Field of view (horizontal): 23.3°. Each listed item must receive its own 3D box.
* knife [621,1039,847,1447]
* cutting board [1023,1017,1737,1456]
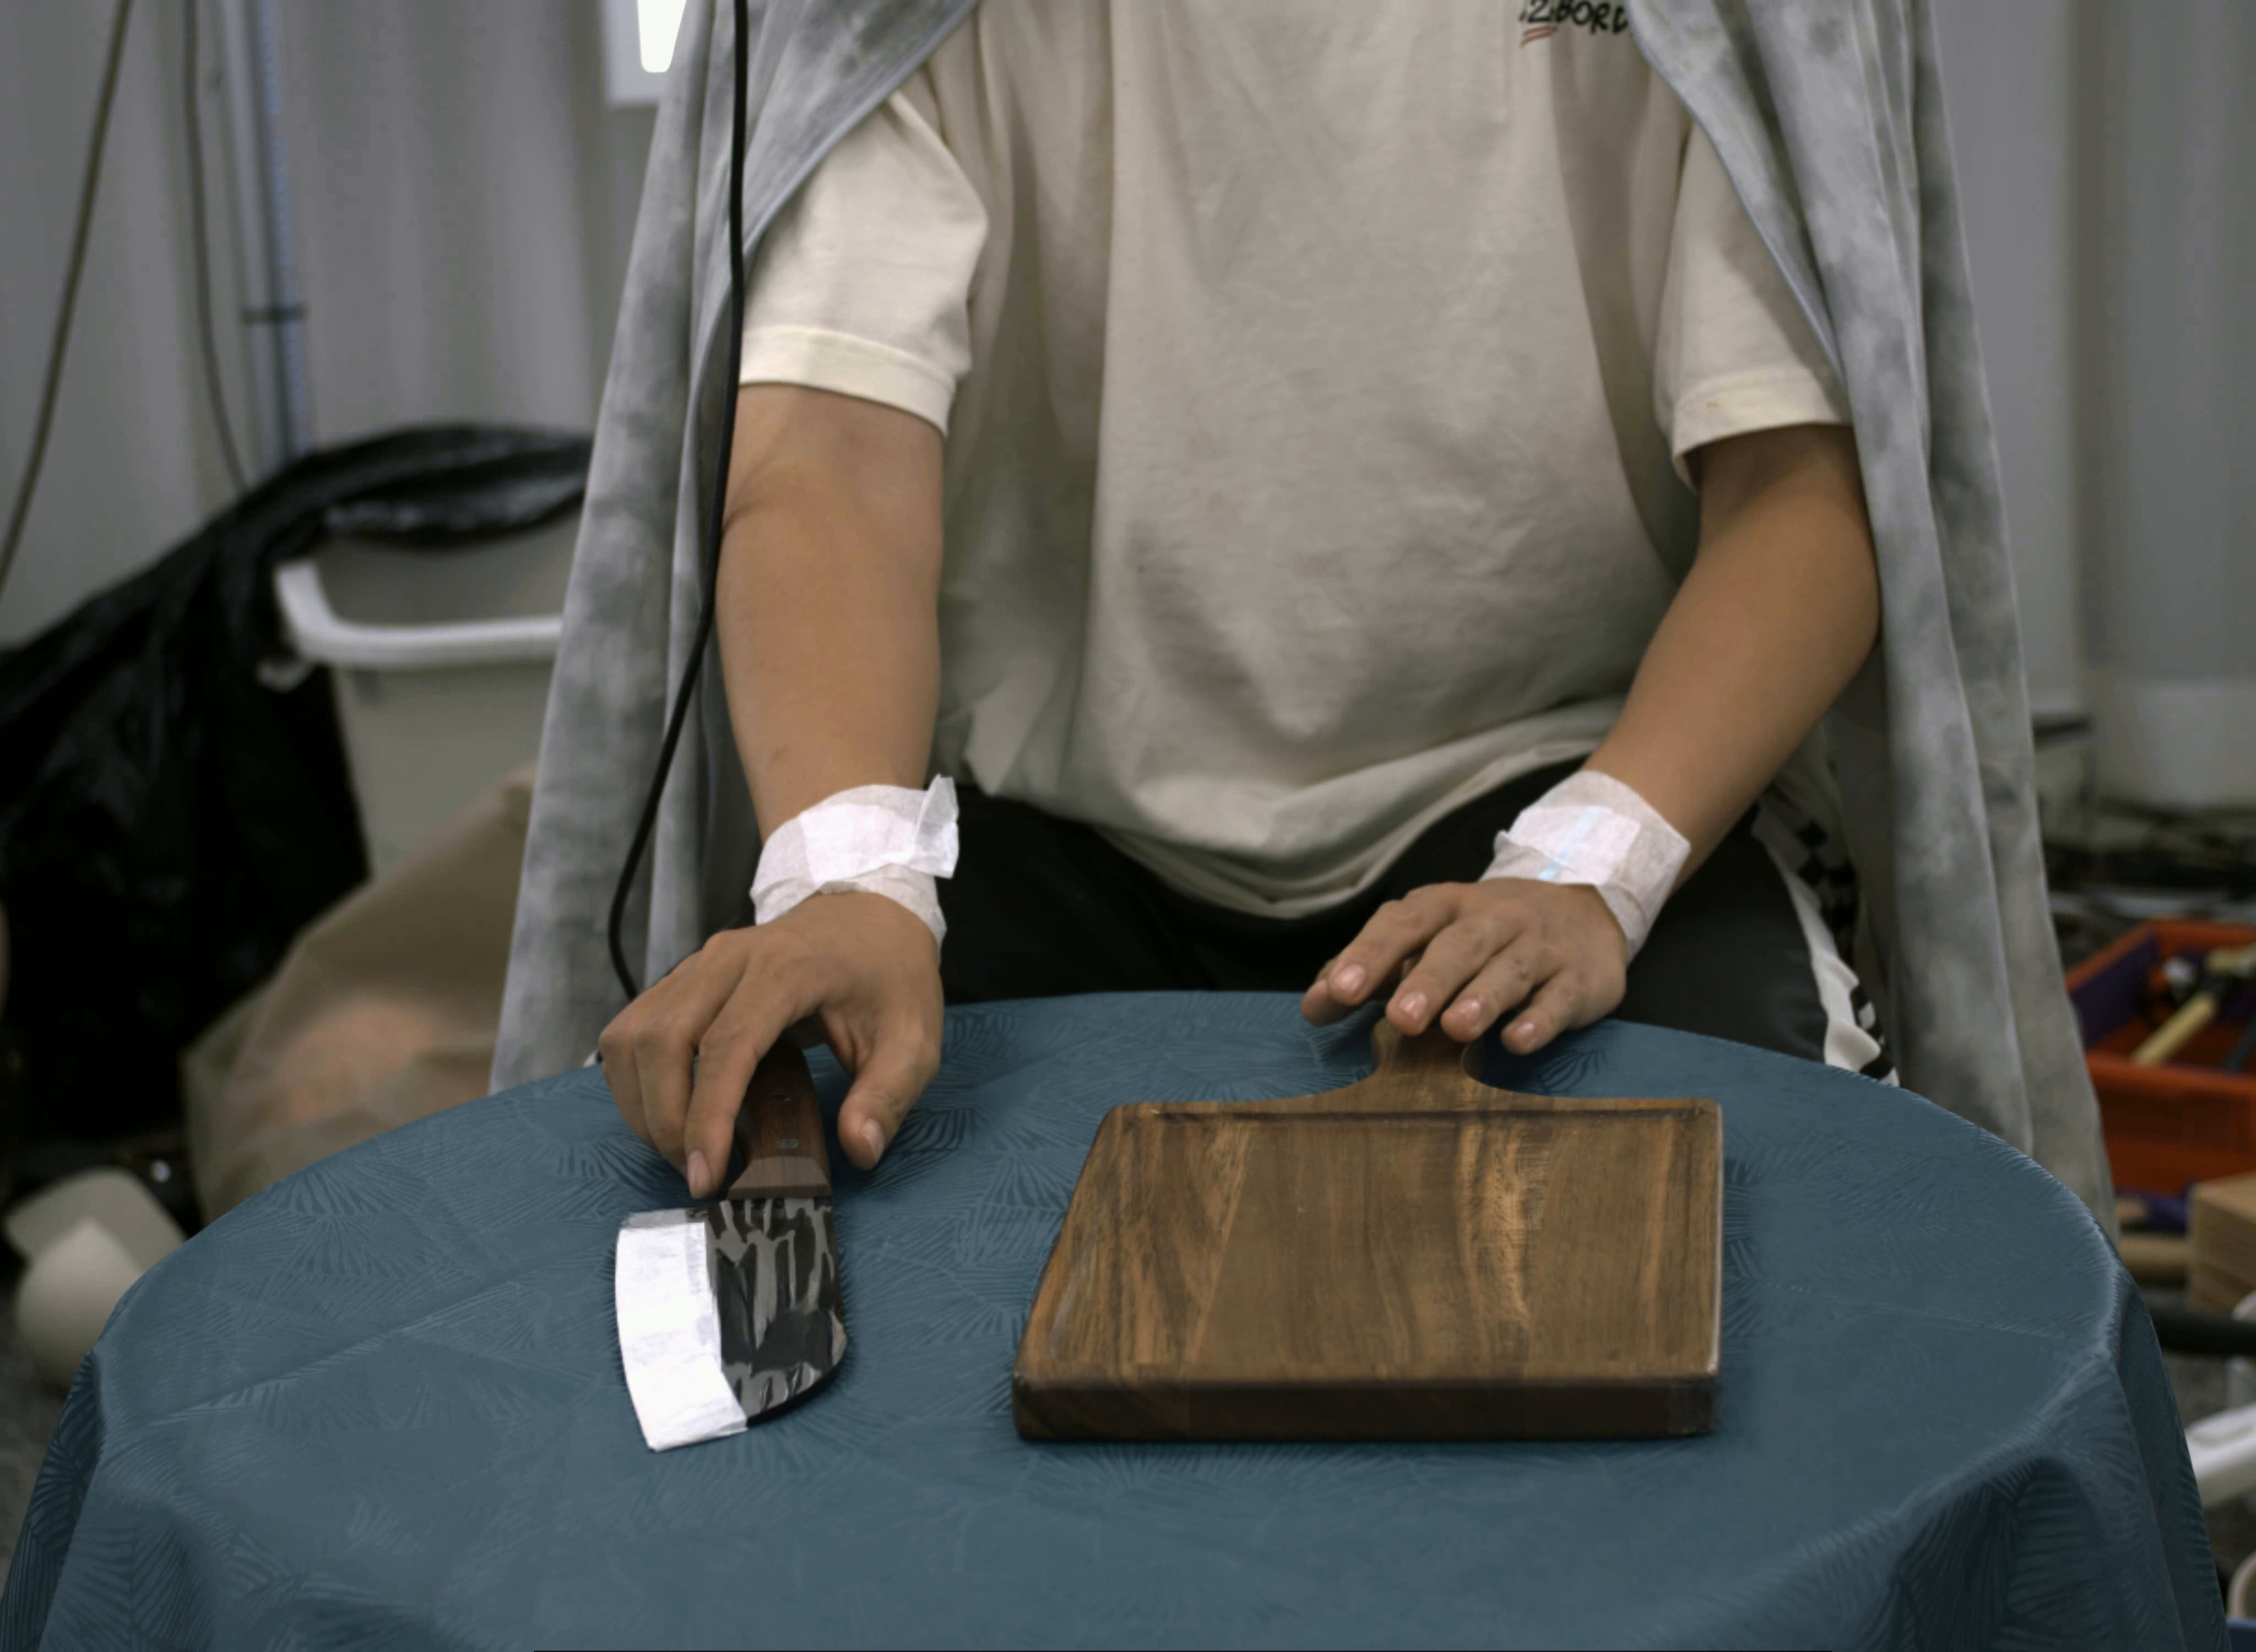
[{"bbox_3d":[-0.121,0.126,1.664,0.068,0.024,0.302,-5,18,-3],"label":"knife"},{"bbox_3d":[0.083,0.117,1.664,0.200,0.023,0.354,-3,14,7],"label":"cutting board"}]
